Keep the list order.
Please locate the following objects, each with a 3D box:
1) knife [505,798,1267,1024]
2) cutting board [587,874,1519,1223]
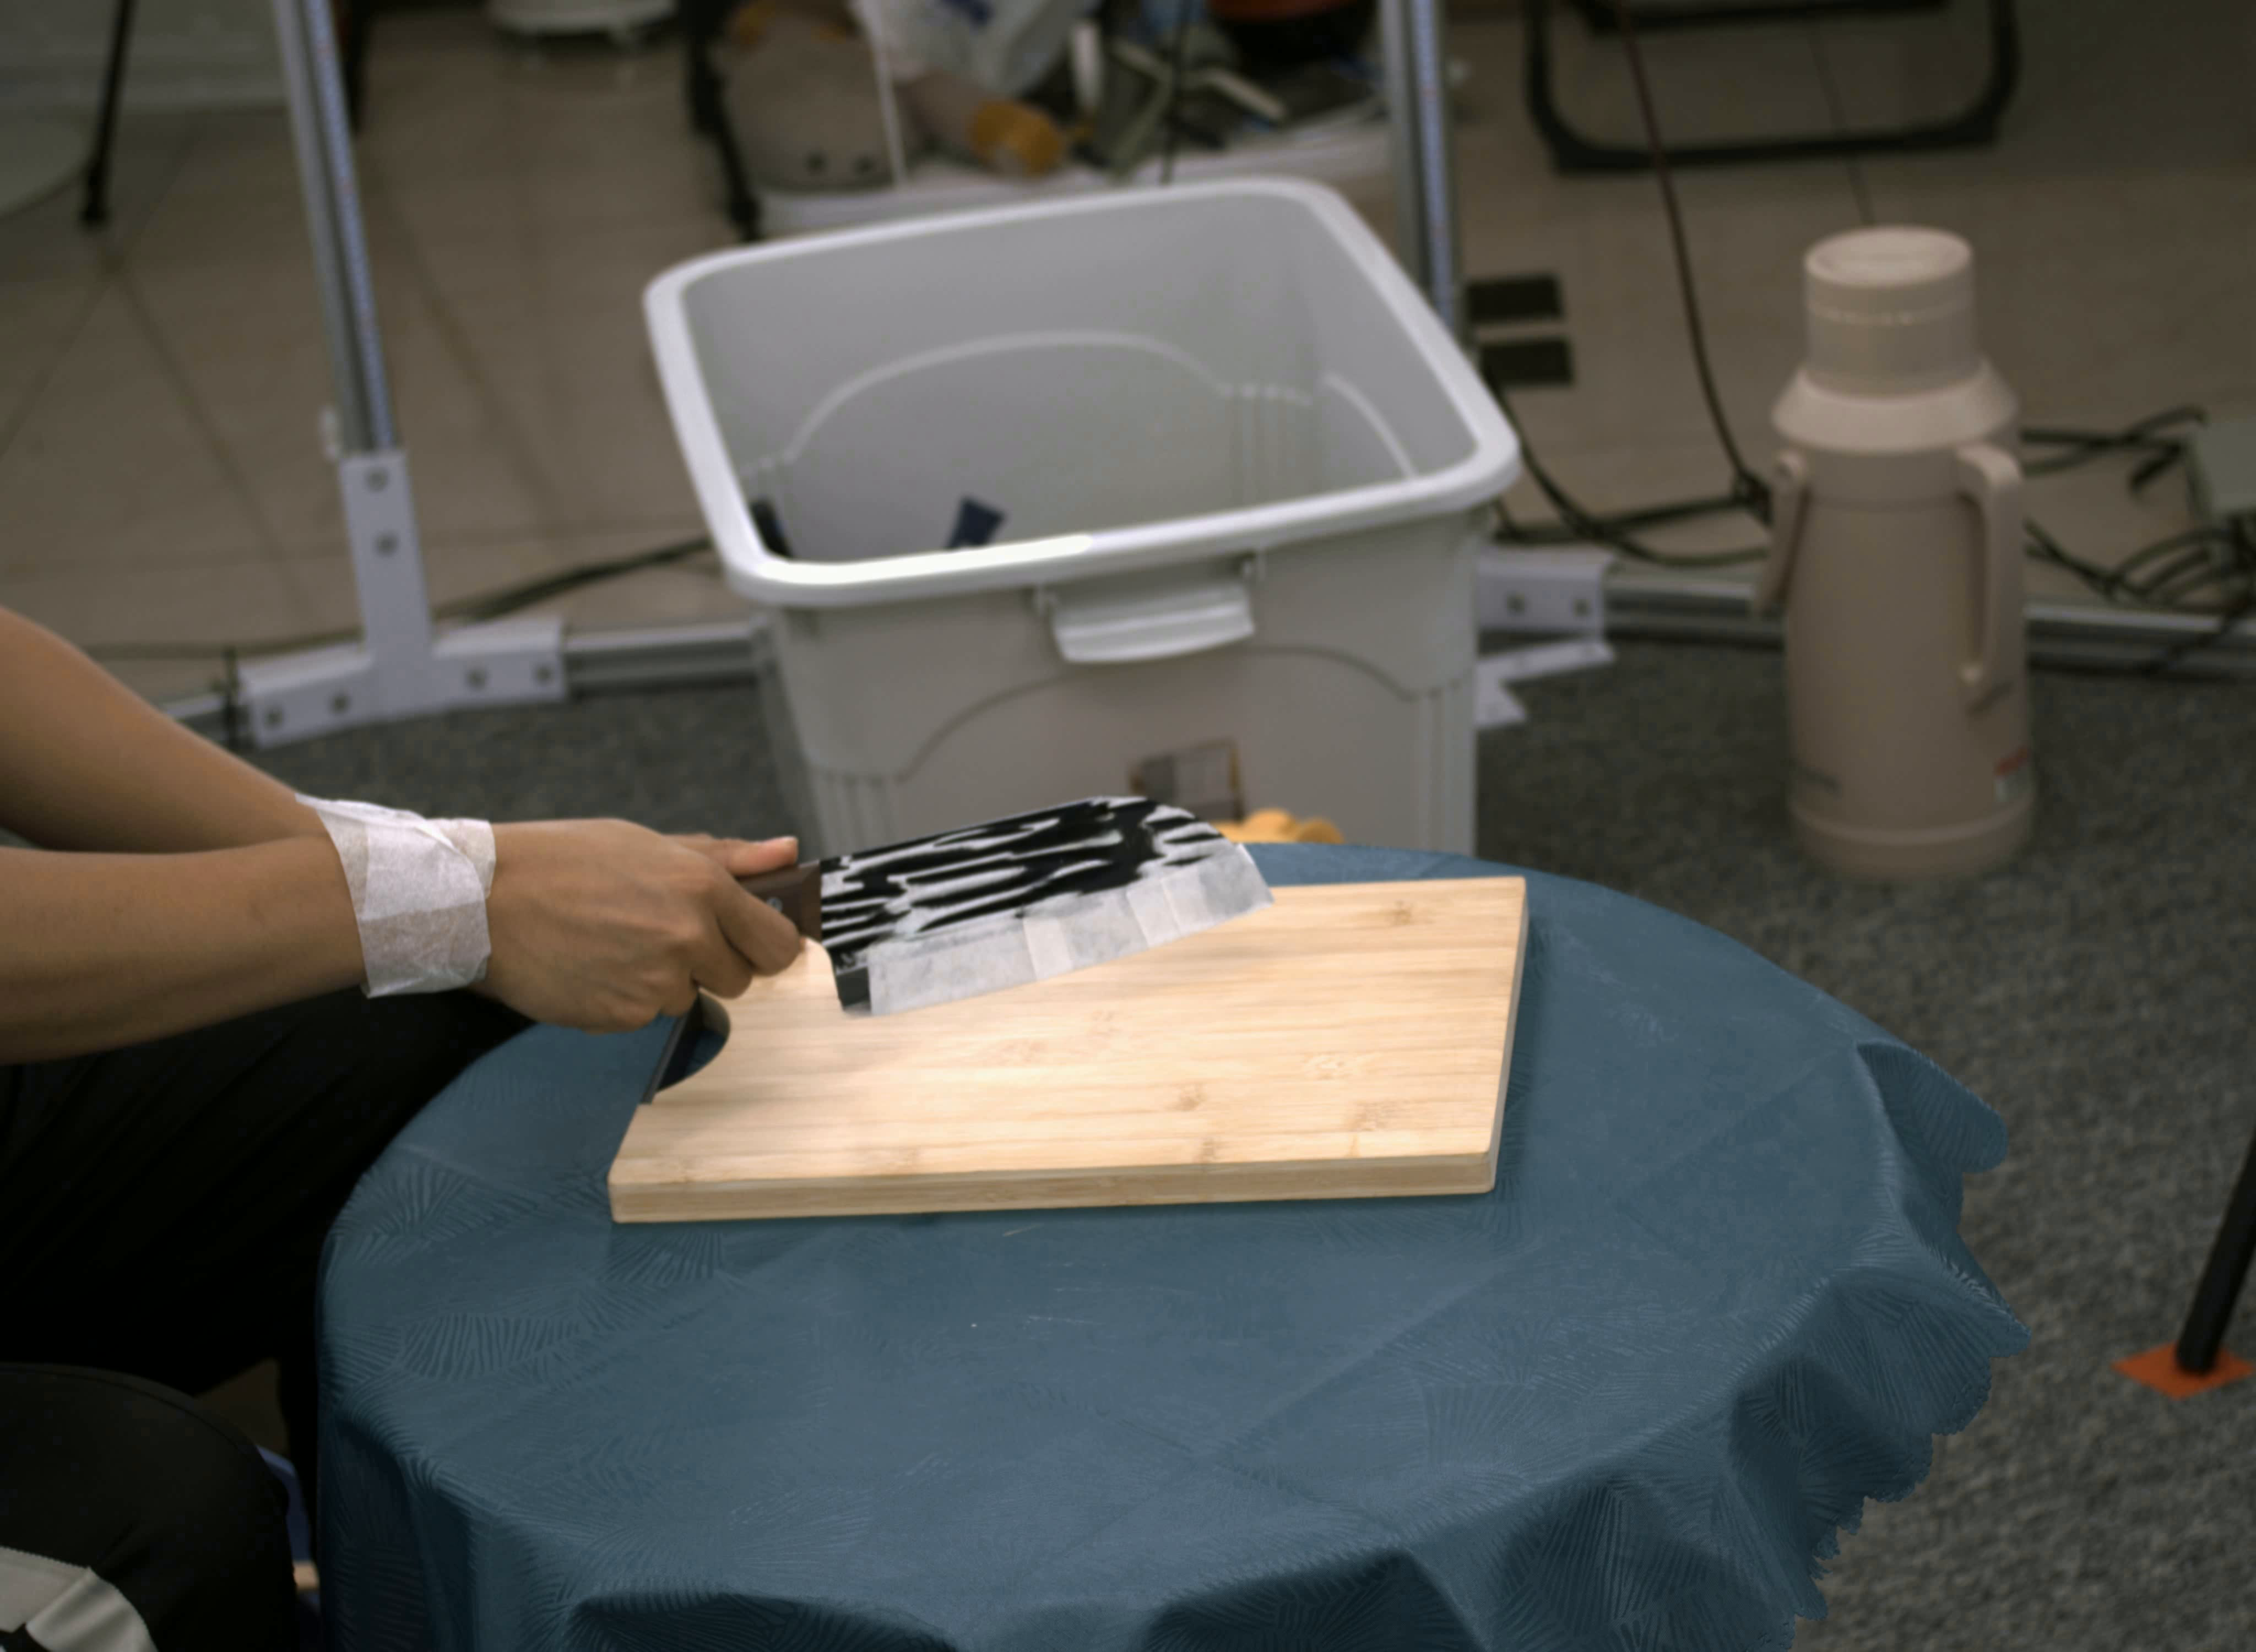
[{"bbox_3d":[-0.092,0.040,2.219,0.299,0.068,0.024,-12,11,-9],"label":"knife"},{"bbox_3d":[-0.023,0.087,2.250,0.348,0.024,0.247,-3,25,8],"label":"cutting board"}]
